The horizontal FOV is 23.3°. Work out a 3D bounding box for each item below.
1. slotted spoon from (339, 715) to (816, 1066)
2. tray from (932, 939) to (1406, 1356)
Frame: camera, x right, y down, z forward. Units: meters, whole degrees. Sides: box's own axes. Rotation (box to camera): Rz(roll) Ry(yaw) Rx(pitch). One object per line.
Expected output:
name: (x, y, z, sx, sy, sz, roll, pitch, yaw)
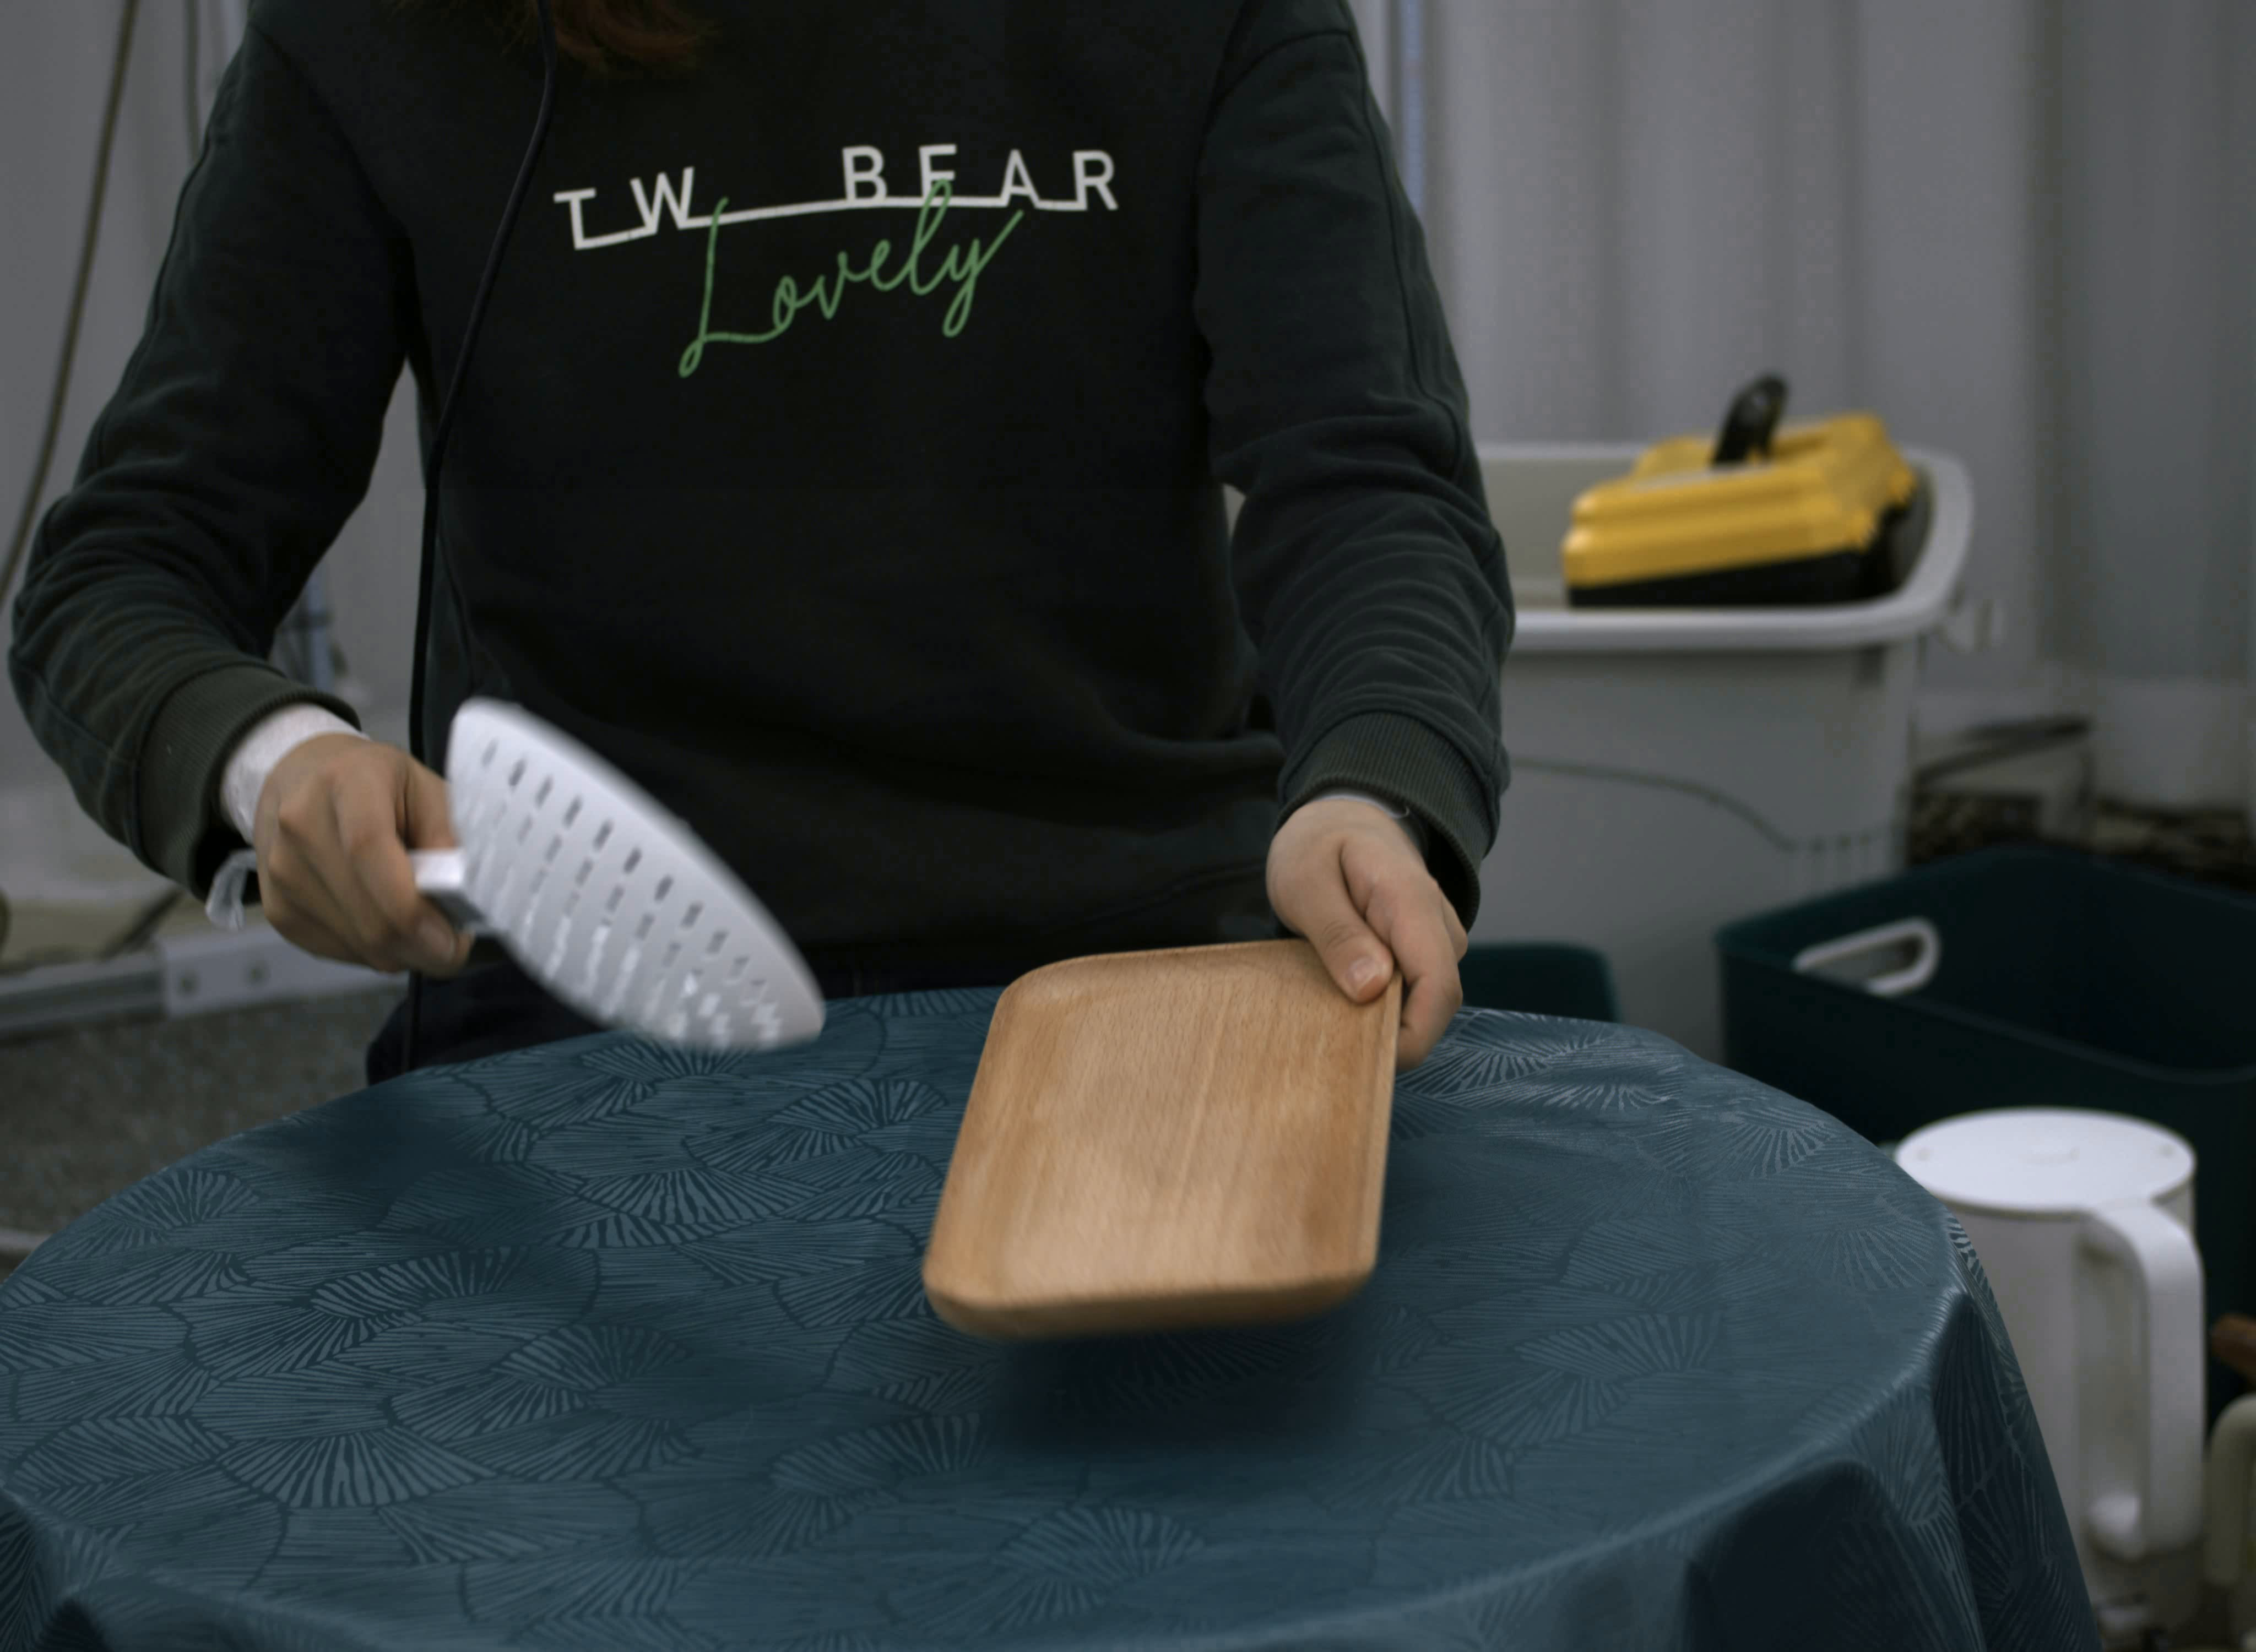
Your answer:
slotted spoon: (-0.184, 0.023, 1.637, 0.046, 0.135, 0.351, -47, 15, -11)
tray: (0.016, 0.091, 1.597, 0.130, 0.023, 0.253, -3, 21, 6)
